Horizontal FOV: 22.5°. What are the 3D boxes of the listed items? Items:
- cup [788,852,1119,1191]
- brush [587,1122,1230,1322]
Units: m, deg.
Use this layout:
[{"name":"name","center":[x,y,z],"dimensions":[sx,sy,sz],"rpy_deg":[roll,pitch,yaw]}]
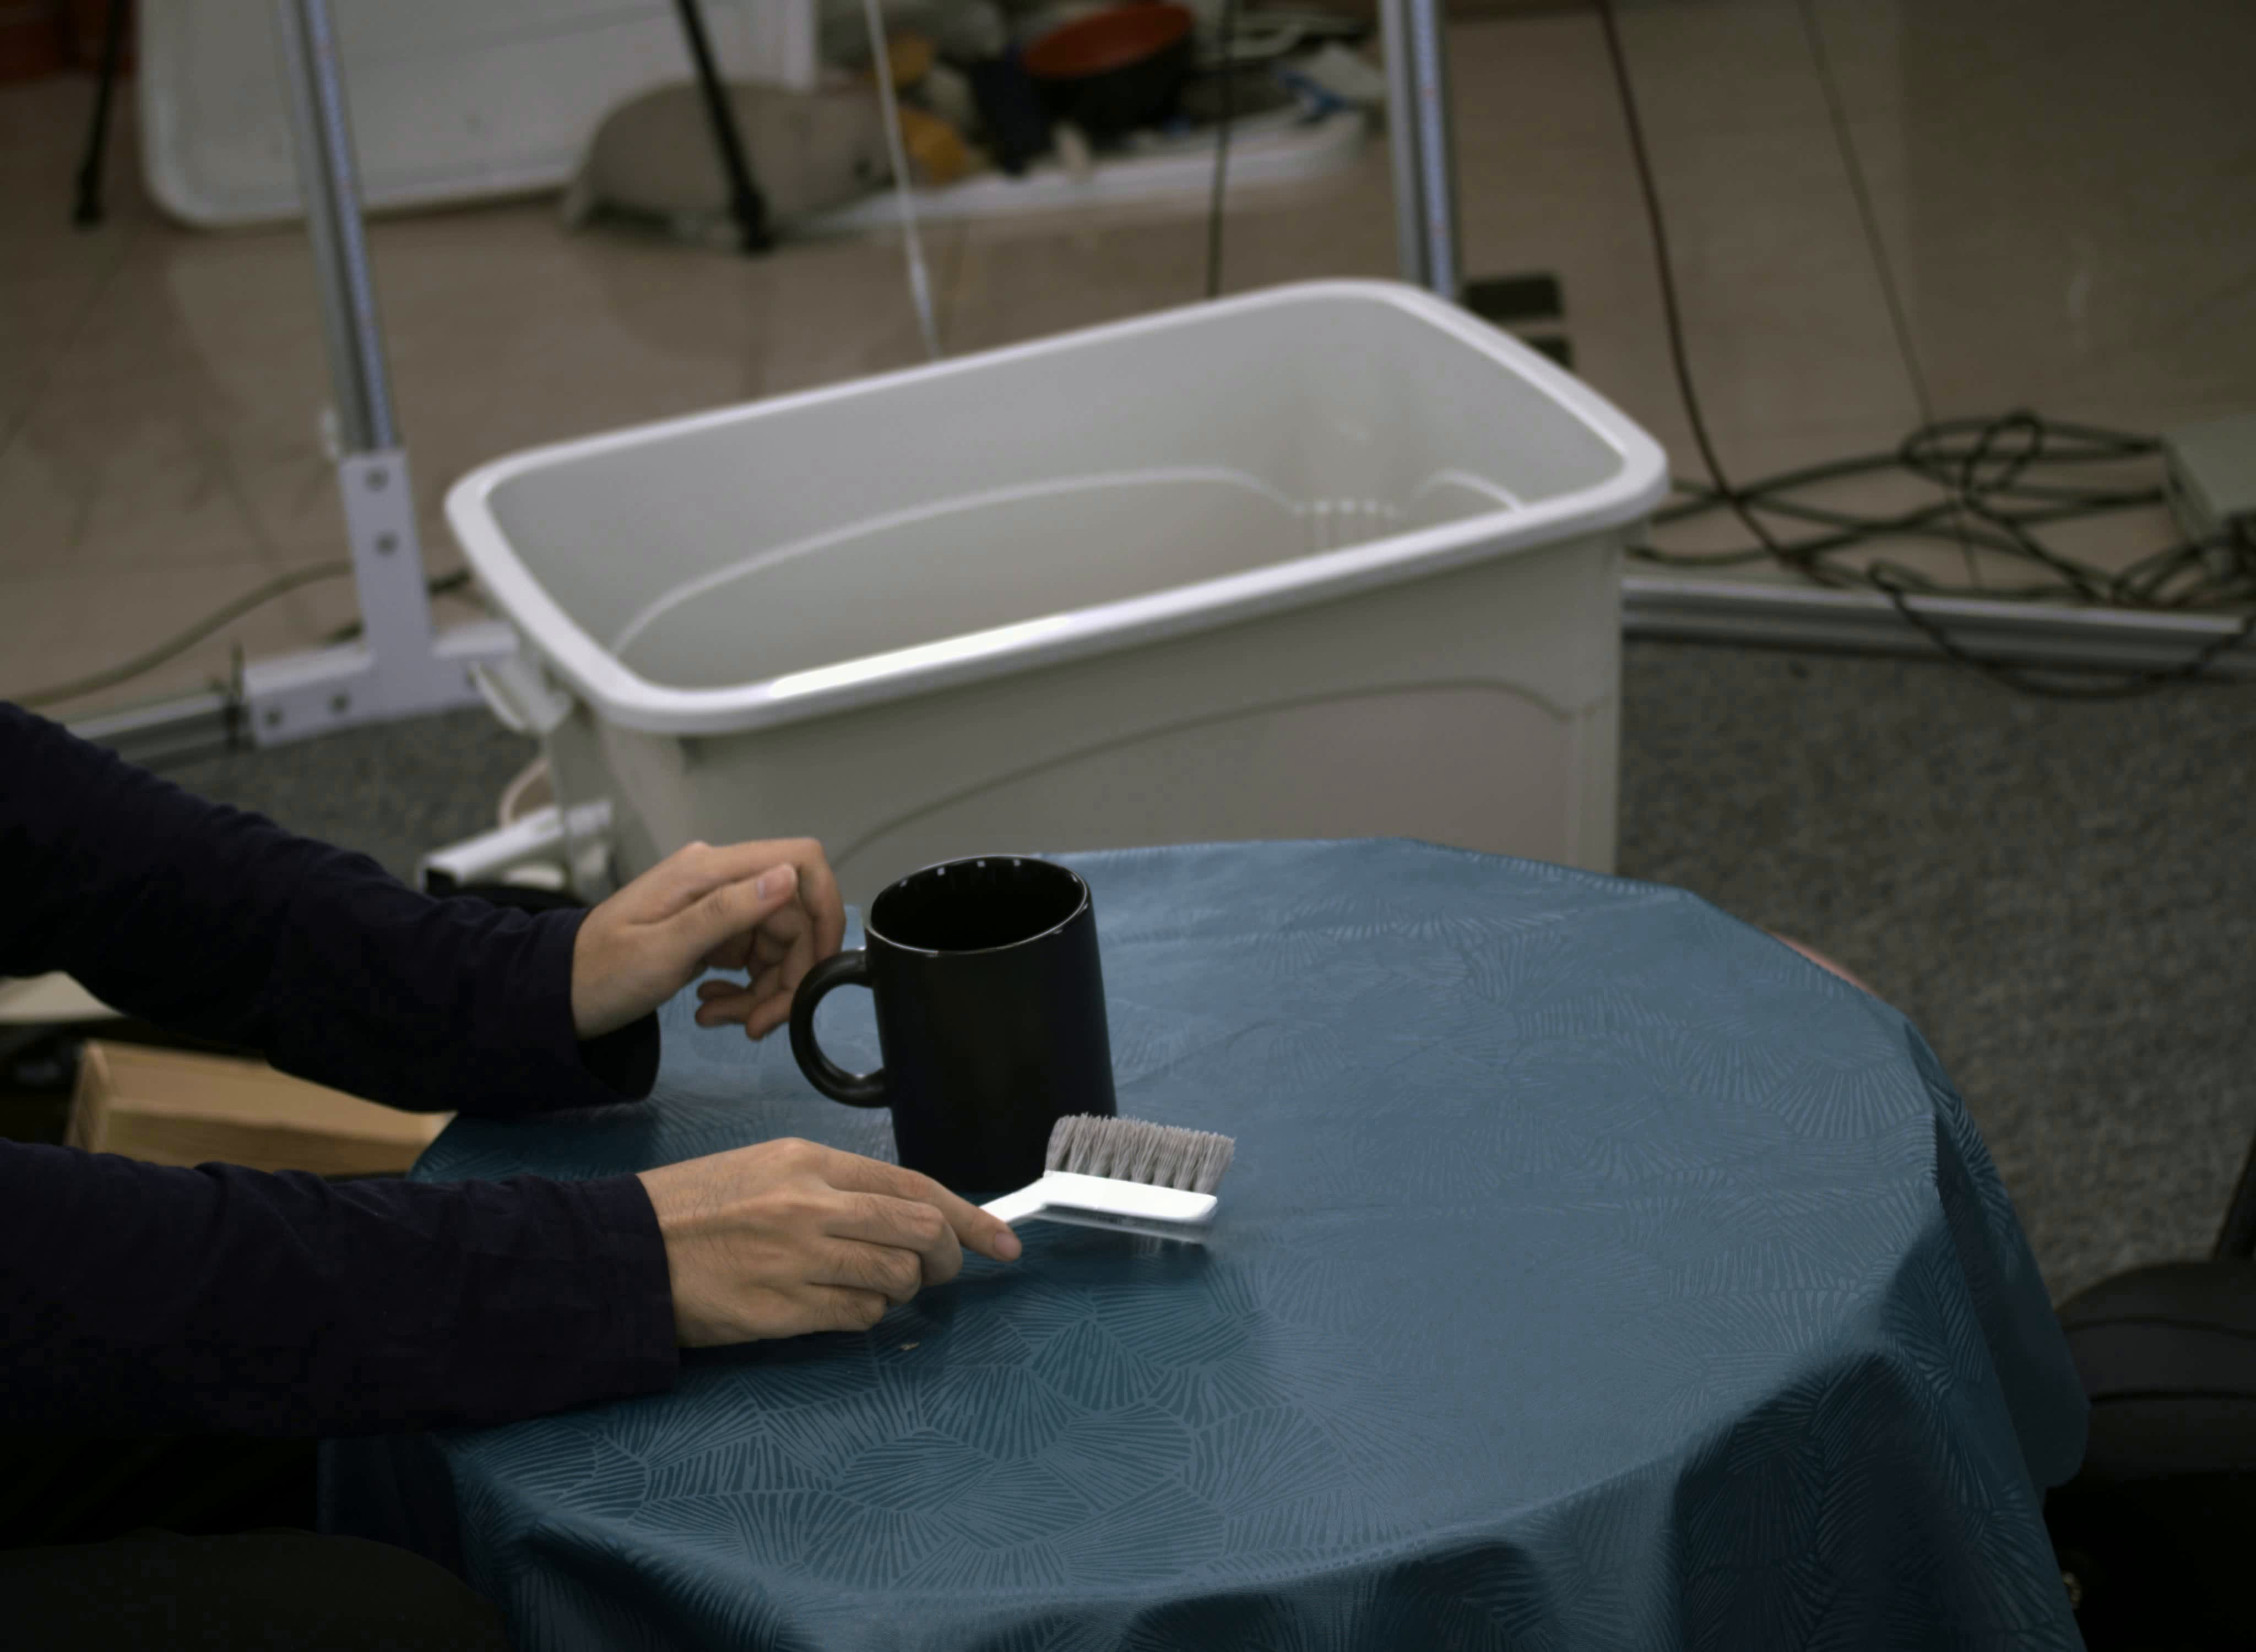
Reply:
[{"name":"cup","center":[-0.070,0.076,2.176],"dimensions":[0.123,0.107,0.087],"rpy_deg":[-4,27,9]},{"name":"brush","center":[-0.081,0.144,2.097],"dimensions":[0.243,0.050,0.034],"rpy_deg":[-8,-10,1]}]
